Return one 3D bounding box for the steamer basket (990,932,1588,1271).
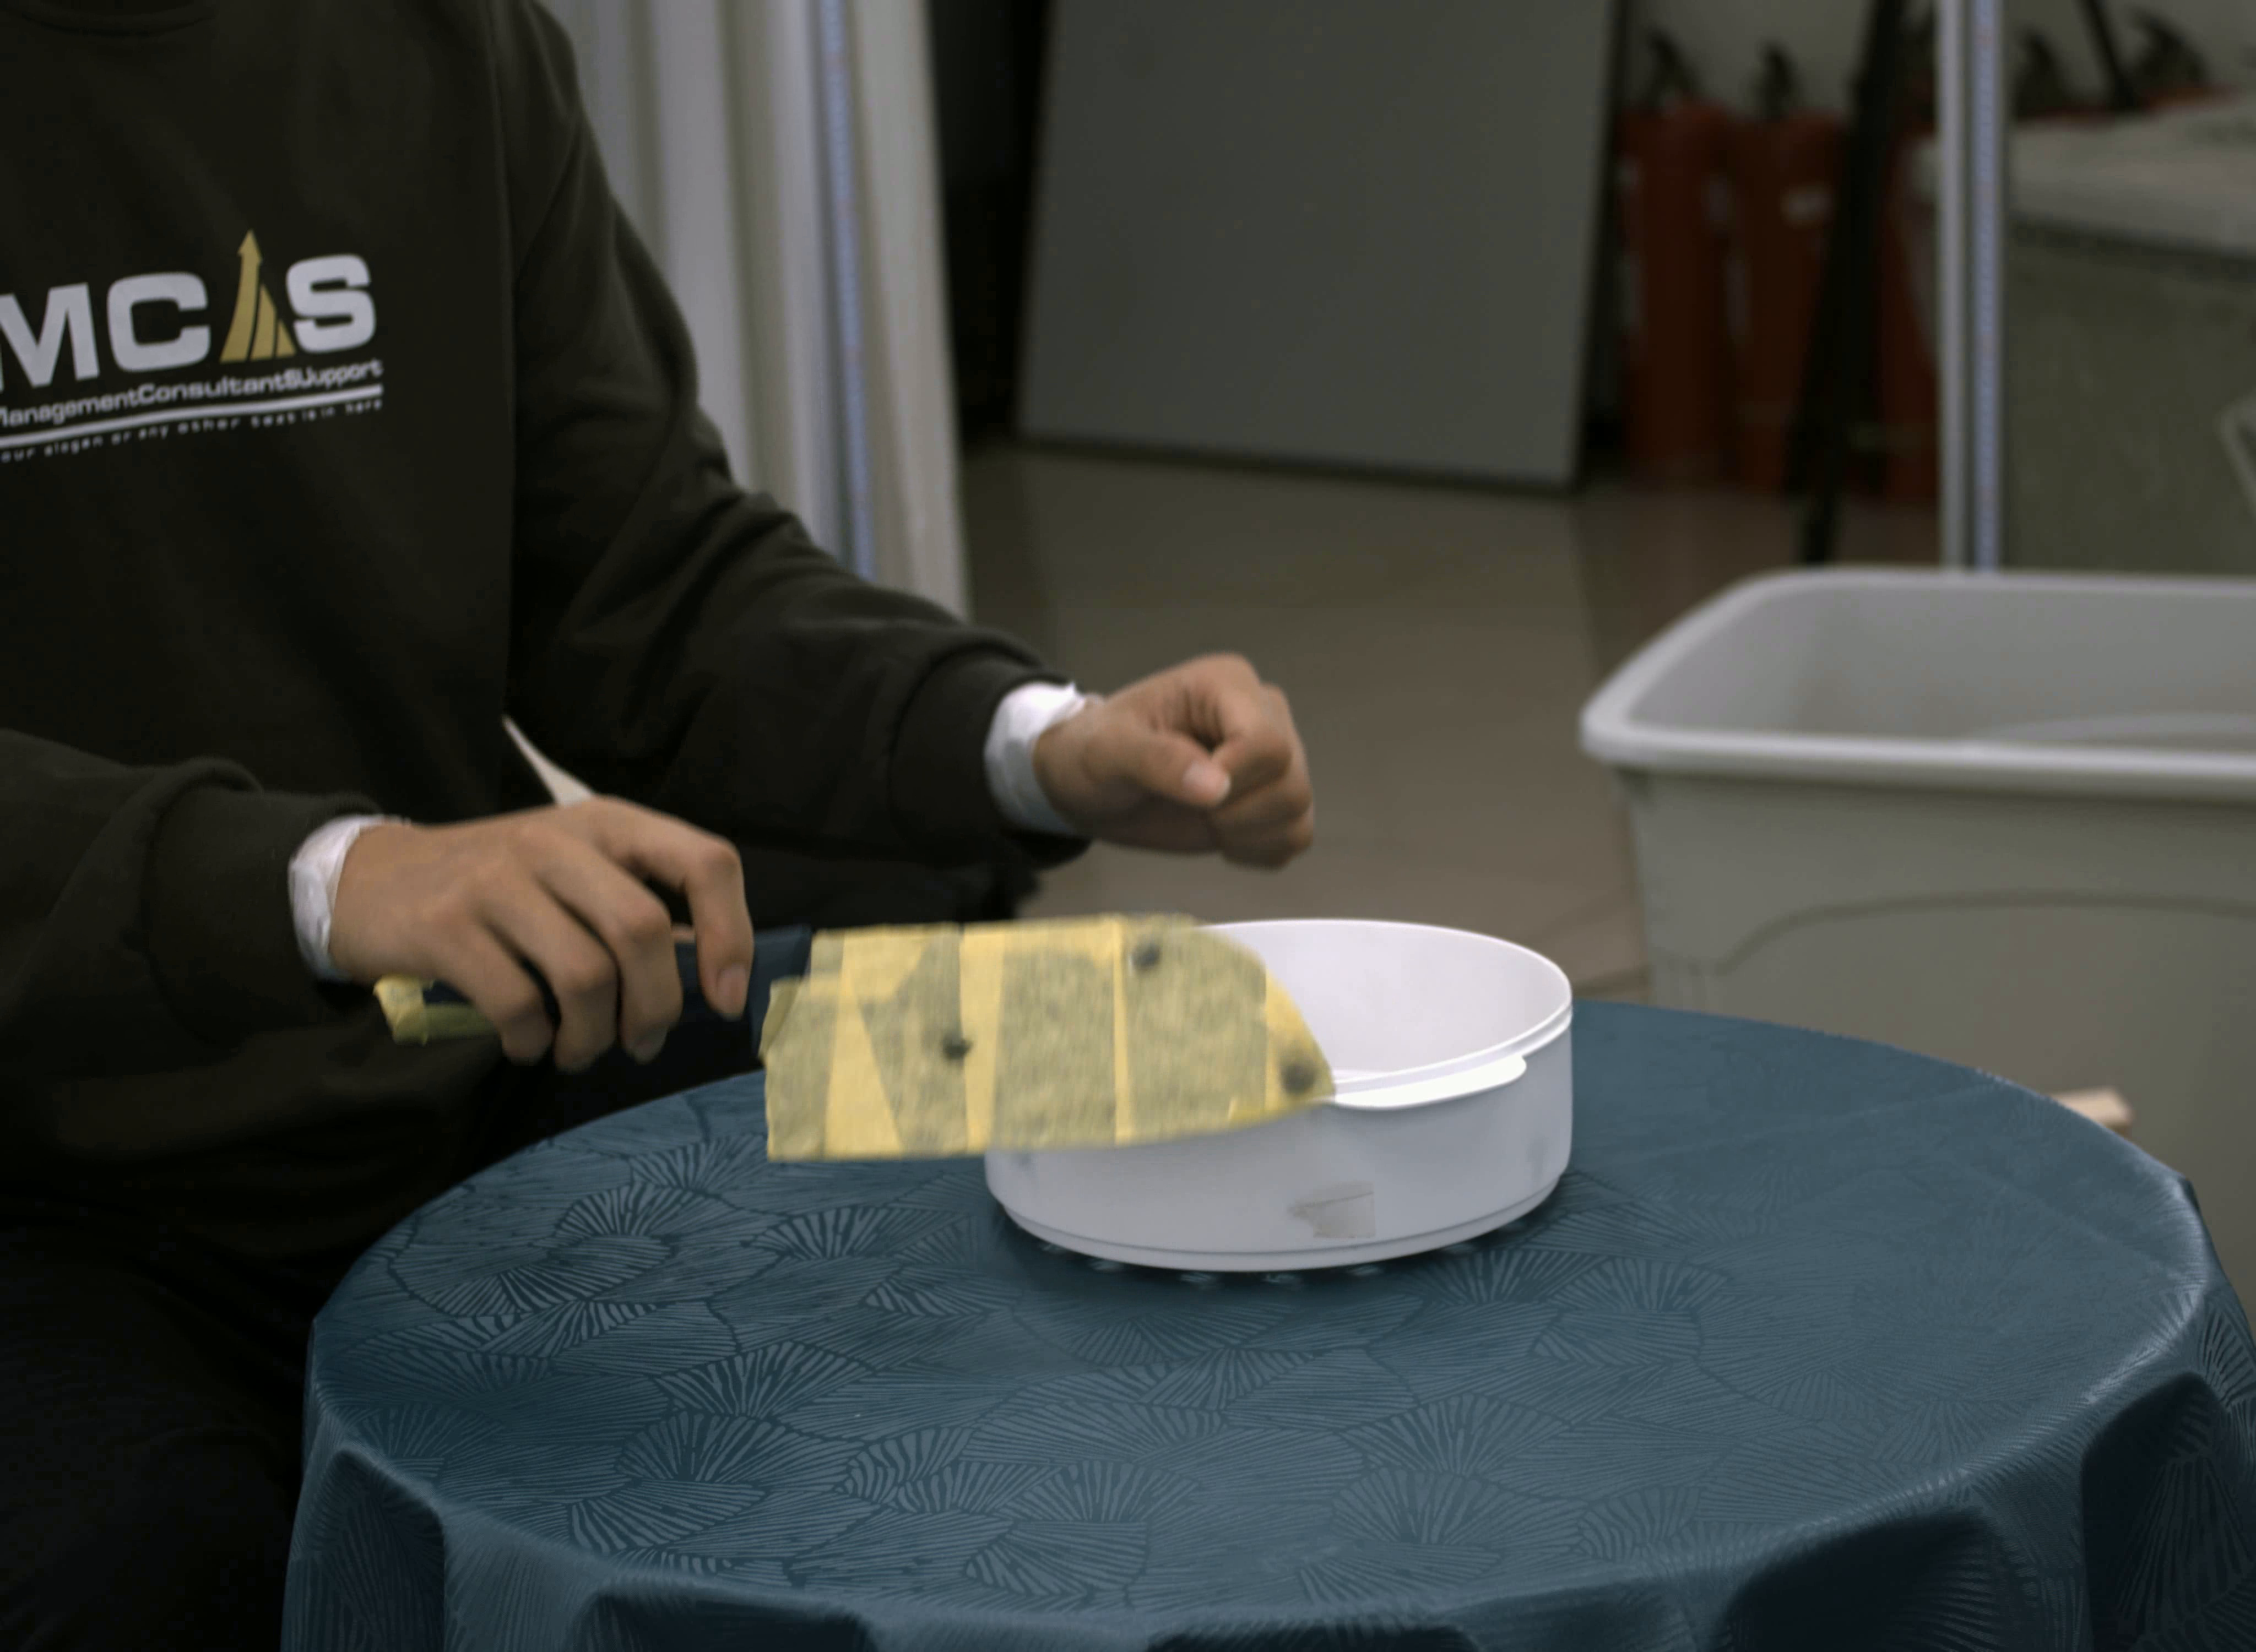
[{"bbox_3d":[0.051,0.089,1.747,0.197,0.070,0.233,-10,14,-26],"label":"steamer basket"}]

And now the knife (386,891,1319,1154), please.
[{"bbox_3d":[-0.084,0.060,1.624,0.287,0.082,0.027,-2,-25,9],"label":"knife"}]
